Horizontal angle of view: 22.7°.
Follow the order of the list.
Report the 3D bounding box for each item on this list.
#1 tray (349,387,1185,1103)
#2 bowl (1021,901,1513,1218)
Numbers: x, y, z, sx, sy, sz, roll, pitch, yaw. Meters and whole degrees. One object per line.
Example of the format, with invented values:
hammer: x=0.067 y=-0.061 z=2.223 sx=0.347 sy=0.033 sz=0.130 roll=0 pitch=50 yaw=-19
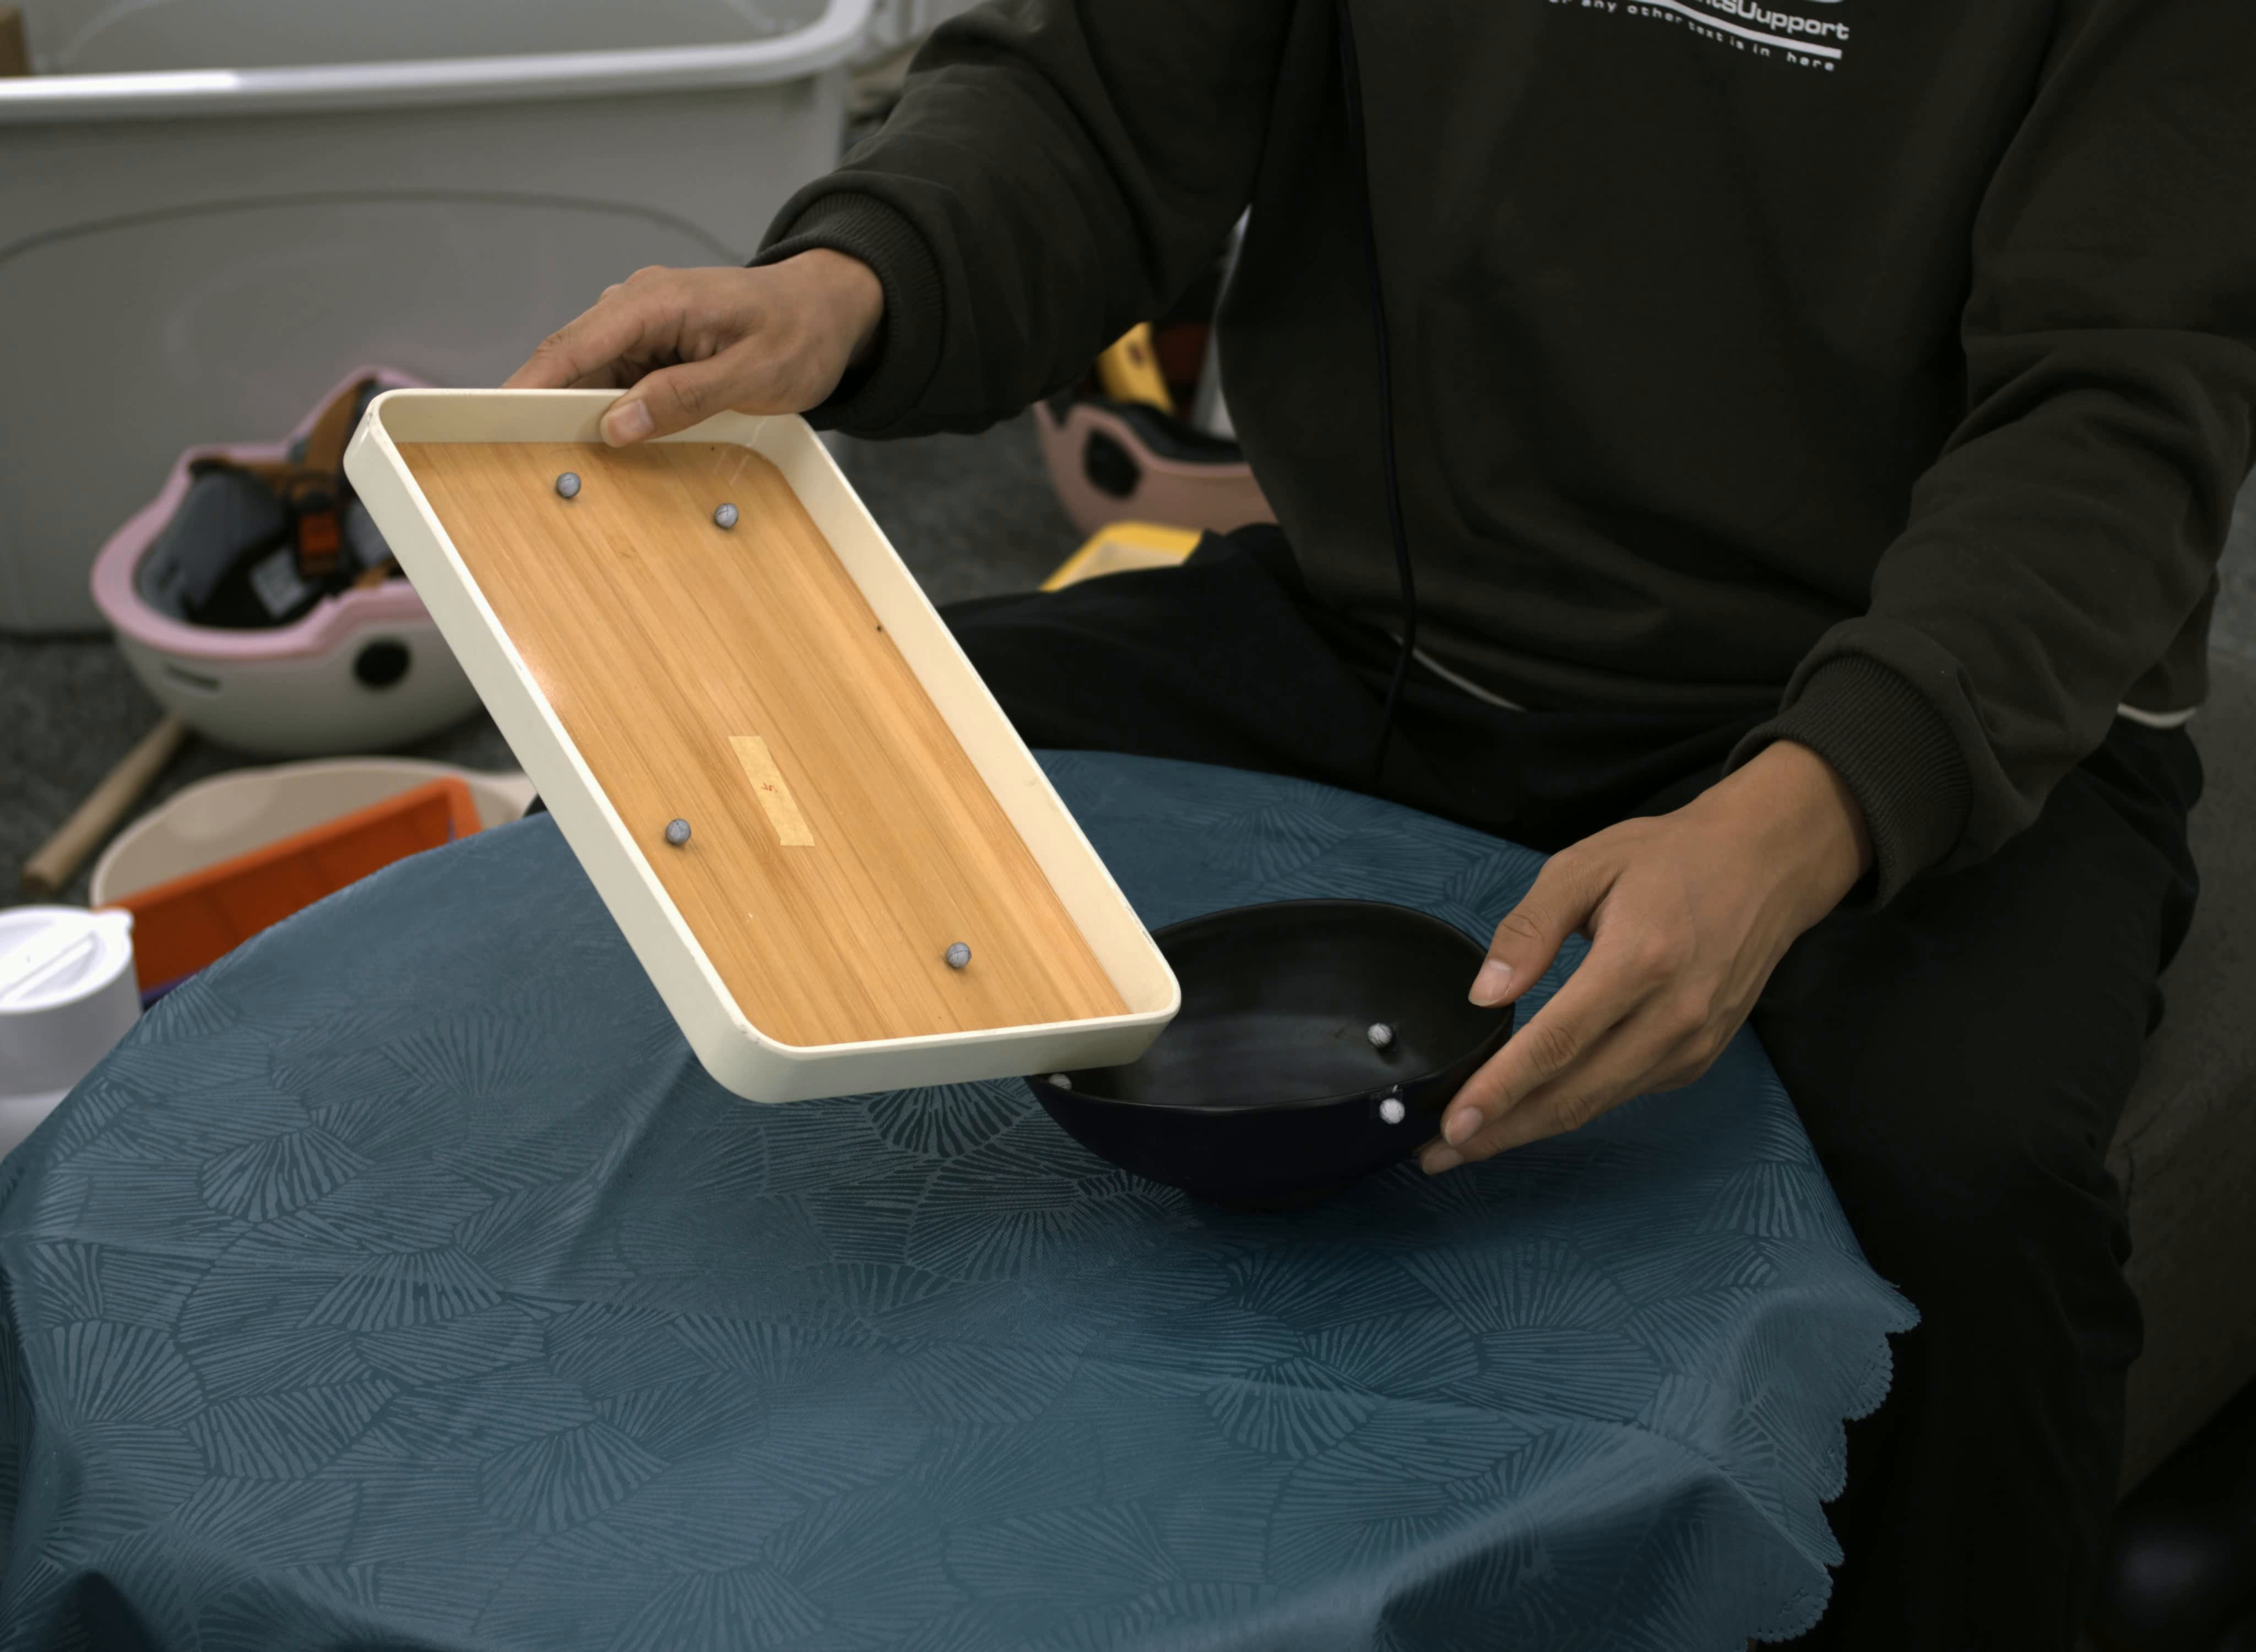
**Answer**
tray: x=-0.122 y=-0.033 z=1.881 sx=0.192 sy=0.027 sz=0.303 roll=-3 pitch=49 yaw=-43
bowl: x=0.047 y=0.086 z=1.858 sx=0.169 sy=0.066 sz=0.140 roll=-2 pitch=27 yaw=17
